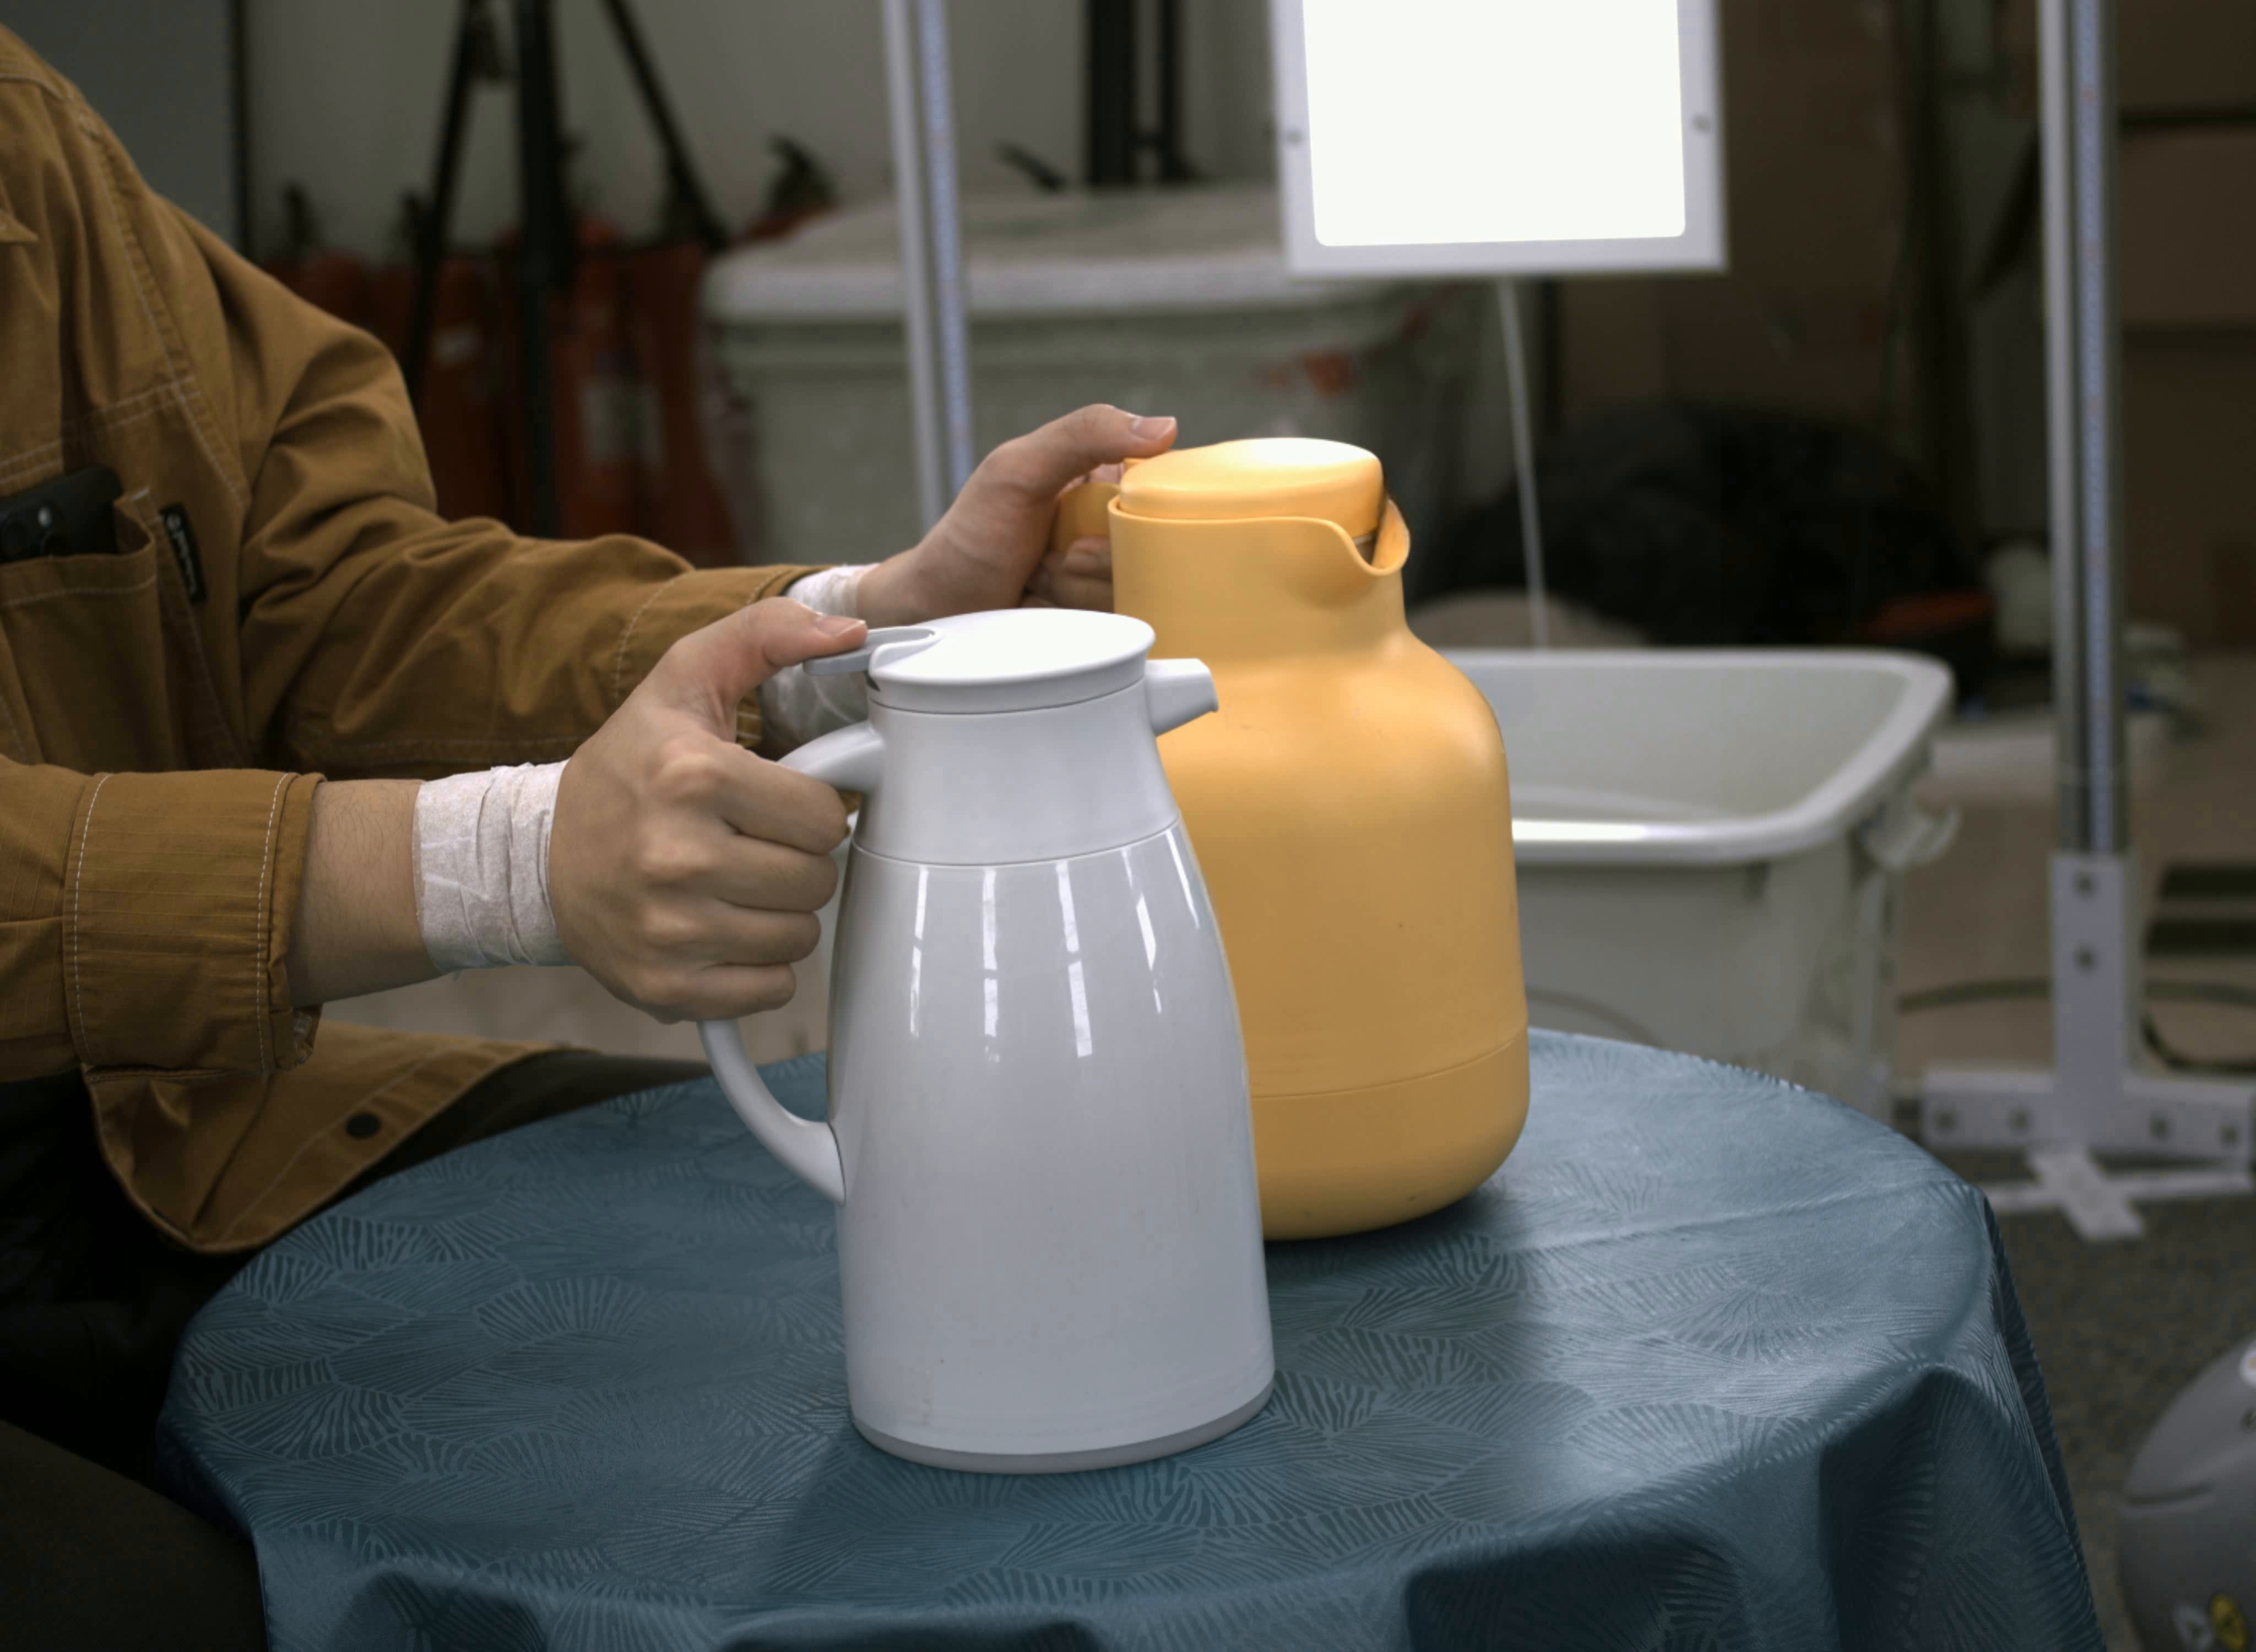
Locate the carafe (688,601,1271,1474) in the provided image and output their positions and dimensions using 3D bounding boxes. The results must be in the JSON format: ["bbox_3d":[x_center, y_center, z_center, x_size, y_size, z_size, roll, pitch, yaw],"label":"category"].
[{"bbox_3d":[-0.047,0.060,1.665,0.166,0.249,0.133,-7,15,-10],"label":"carafe"}]

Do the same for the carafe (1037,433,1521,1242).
[{"bbox_3d":[0.039,-0.004,1.867,0.160,0.261,0.206,-11,16,-30],"label":"carafe"}]
